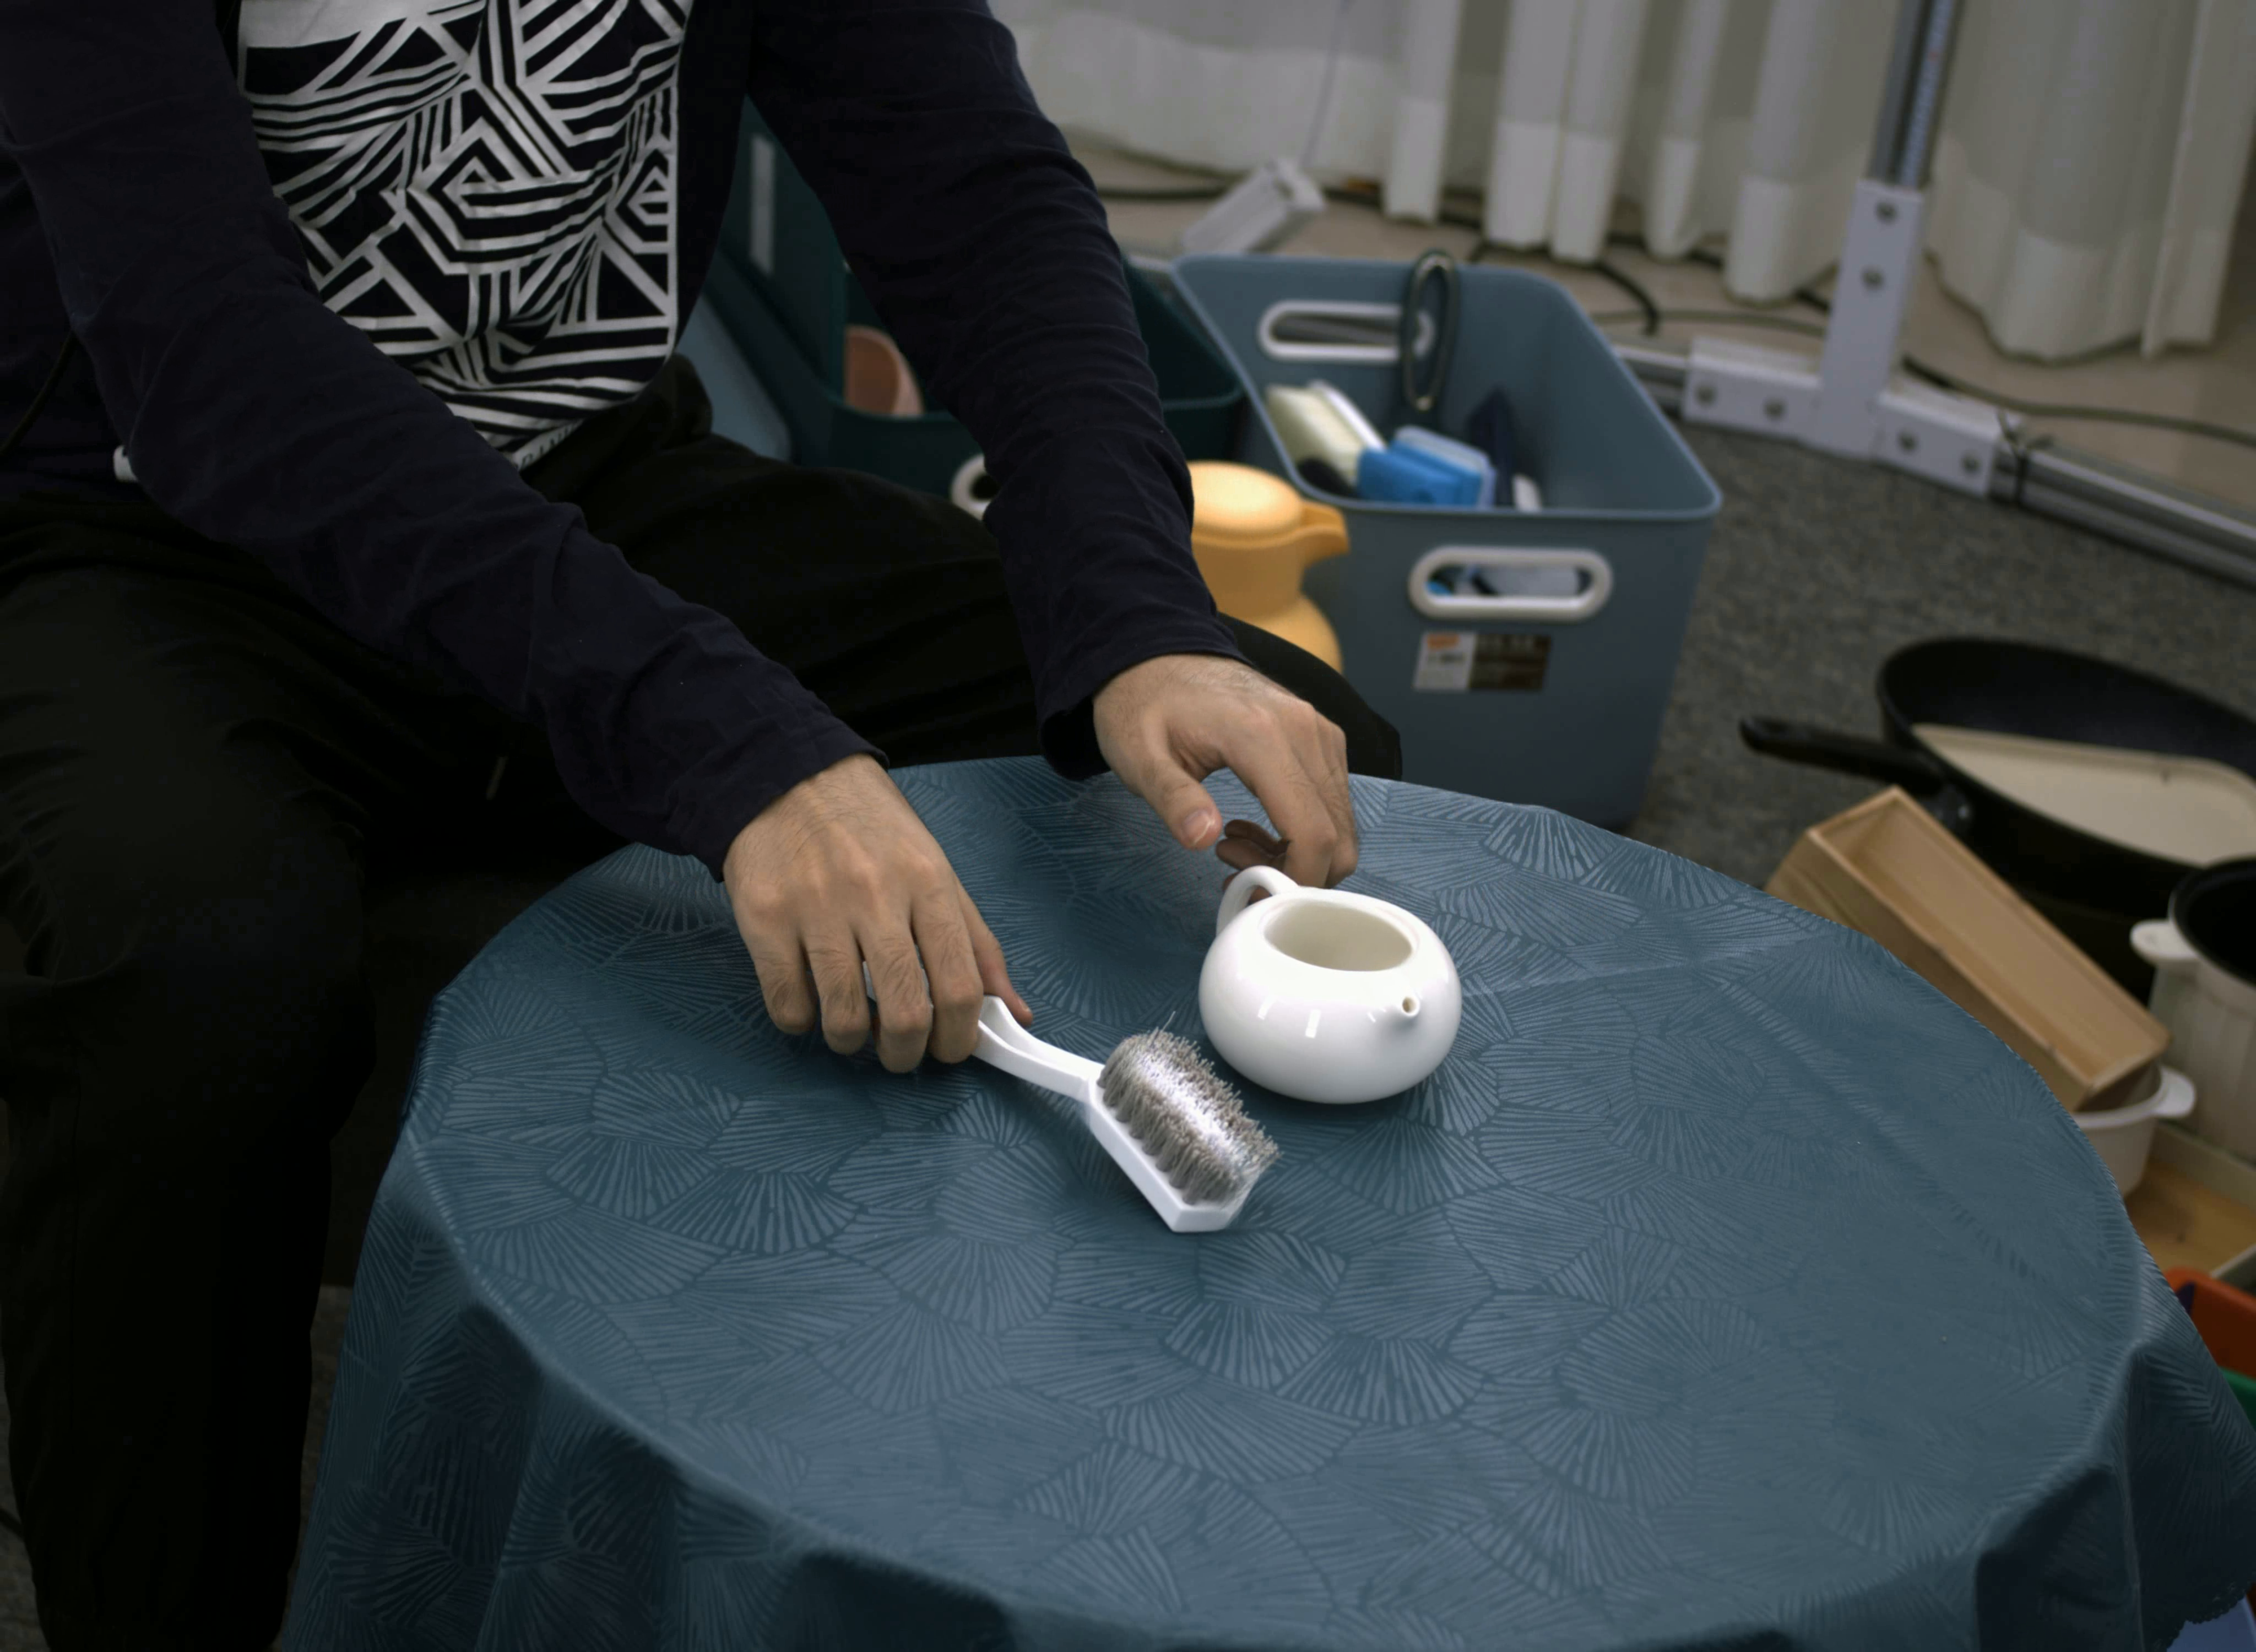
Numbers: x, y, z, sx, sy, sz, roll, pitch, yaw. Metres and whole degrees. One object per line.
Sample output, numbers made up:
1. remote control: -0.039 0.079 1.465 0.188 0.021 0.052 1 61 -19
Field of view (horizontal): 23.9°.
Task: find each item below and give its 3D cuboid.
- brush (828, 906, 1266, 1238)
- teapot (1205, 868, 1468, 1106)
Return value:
1. brush: -0.034 0.068 1.855 0.034 0.050 0.246 -18 36 -30
2. teapot: 0.068 0.057 1.894 0.093 0.056 0.128 -16 32 -28
